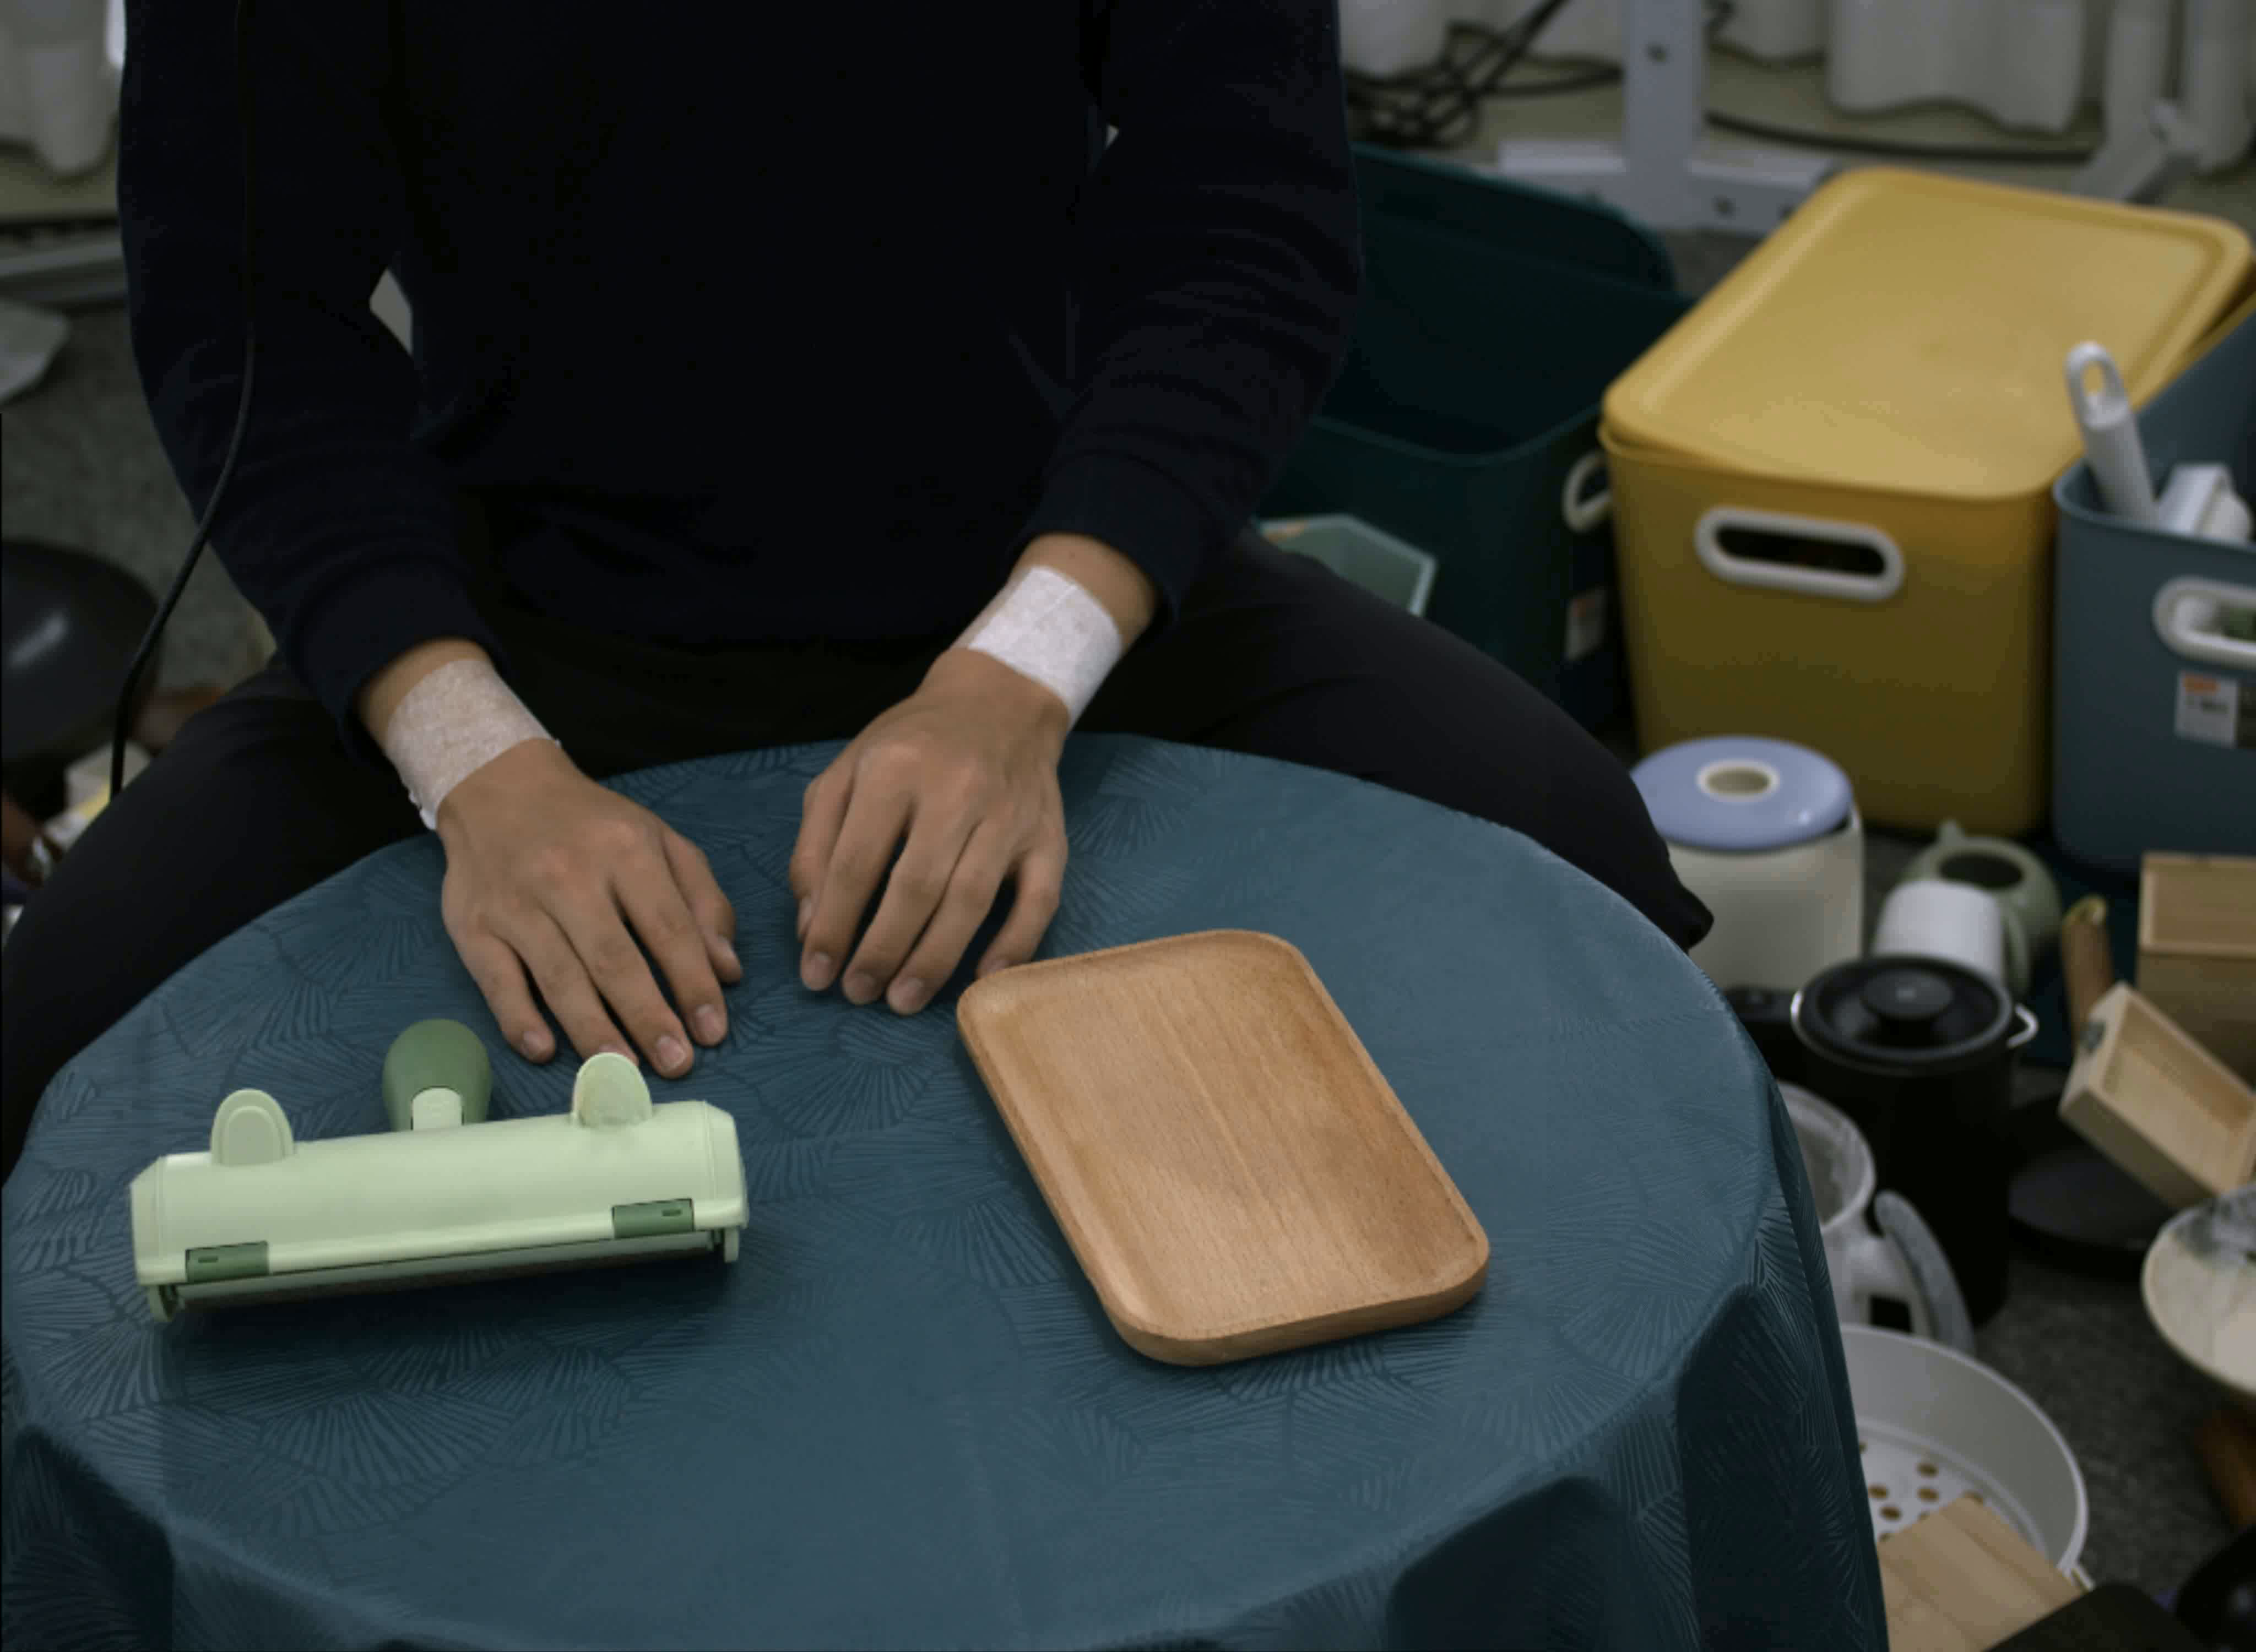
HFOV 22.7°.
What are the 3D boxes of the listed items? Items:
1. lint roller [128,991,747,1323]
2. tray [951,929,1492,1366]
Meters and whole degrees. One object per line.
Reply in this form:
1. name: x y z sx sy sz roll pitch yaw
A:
1. lint roller: -0.231 0.087 1.859 0.198 0.081 0.186 -5 34 -7
2. tray: 0.028 0.104 1.875 0.130 0.022 0.253 -8 27 -14
